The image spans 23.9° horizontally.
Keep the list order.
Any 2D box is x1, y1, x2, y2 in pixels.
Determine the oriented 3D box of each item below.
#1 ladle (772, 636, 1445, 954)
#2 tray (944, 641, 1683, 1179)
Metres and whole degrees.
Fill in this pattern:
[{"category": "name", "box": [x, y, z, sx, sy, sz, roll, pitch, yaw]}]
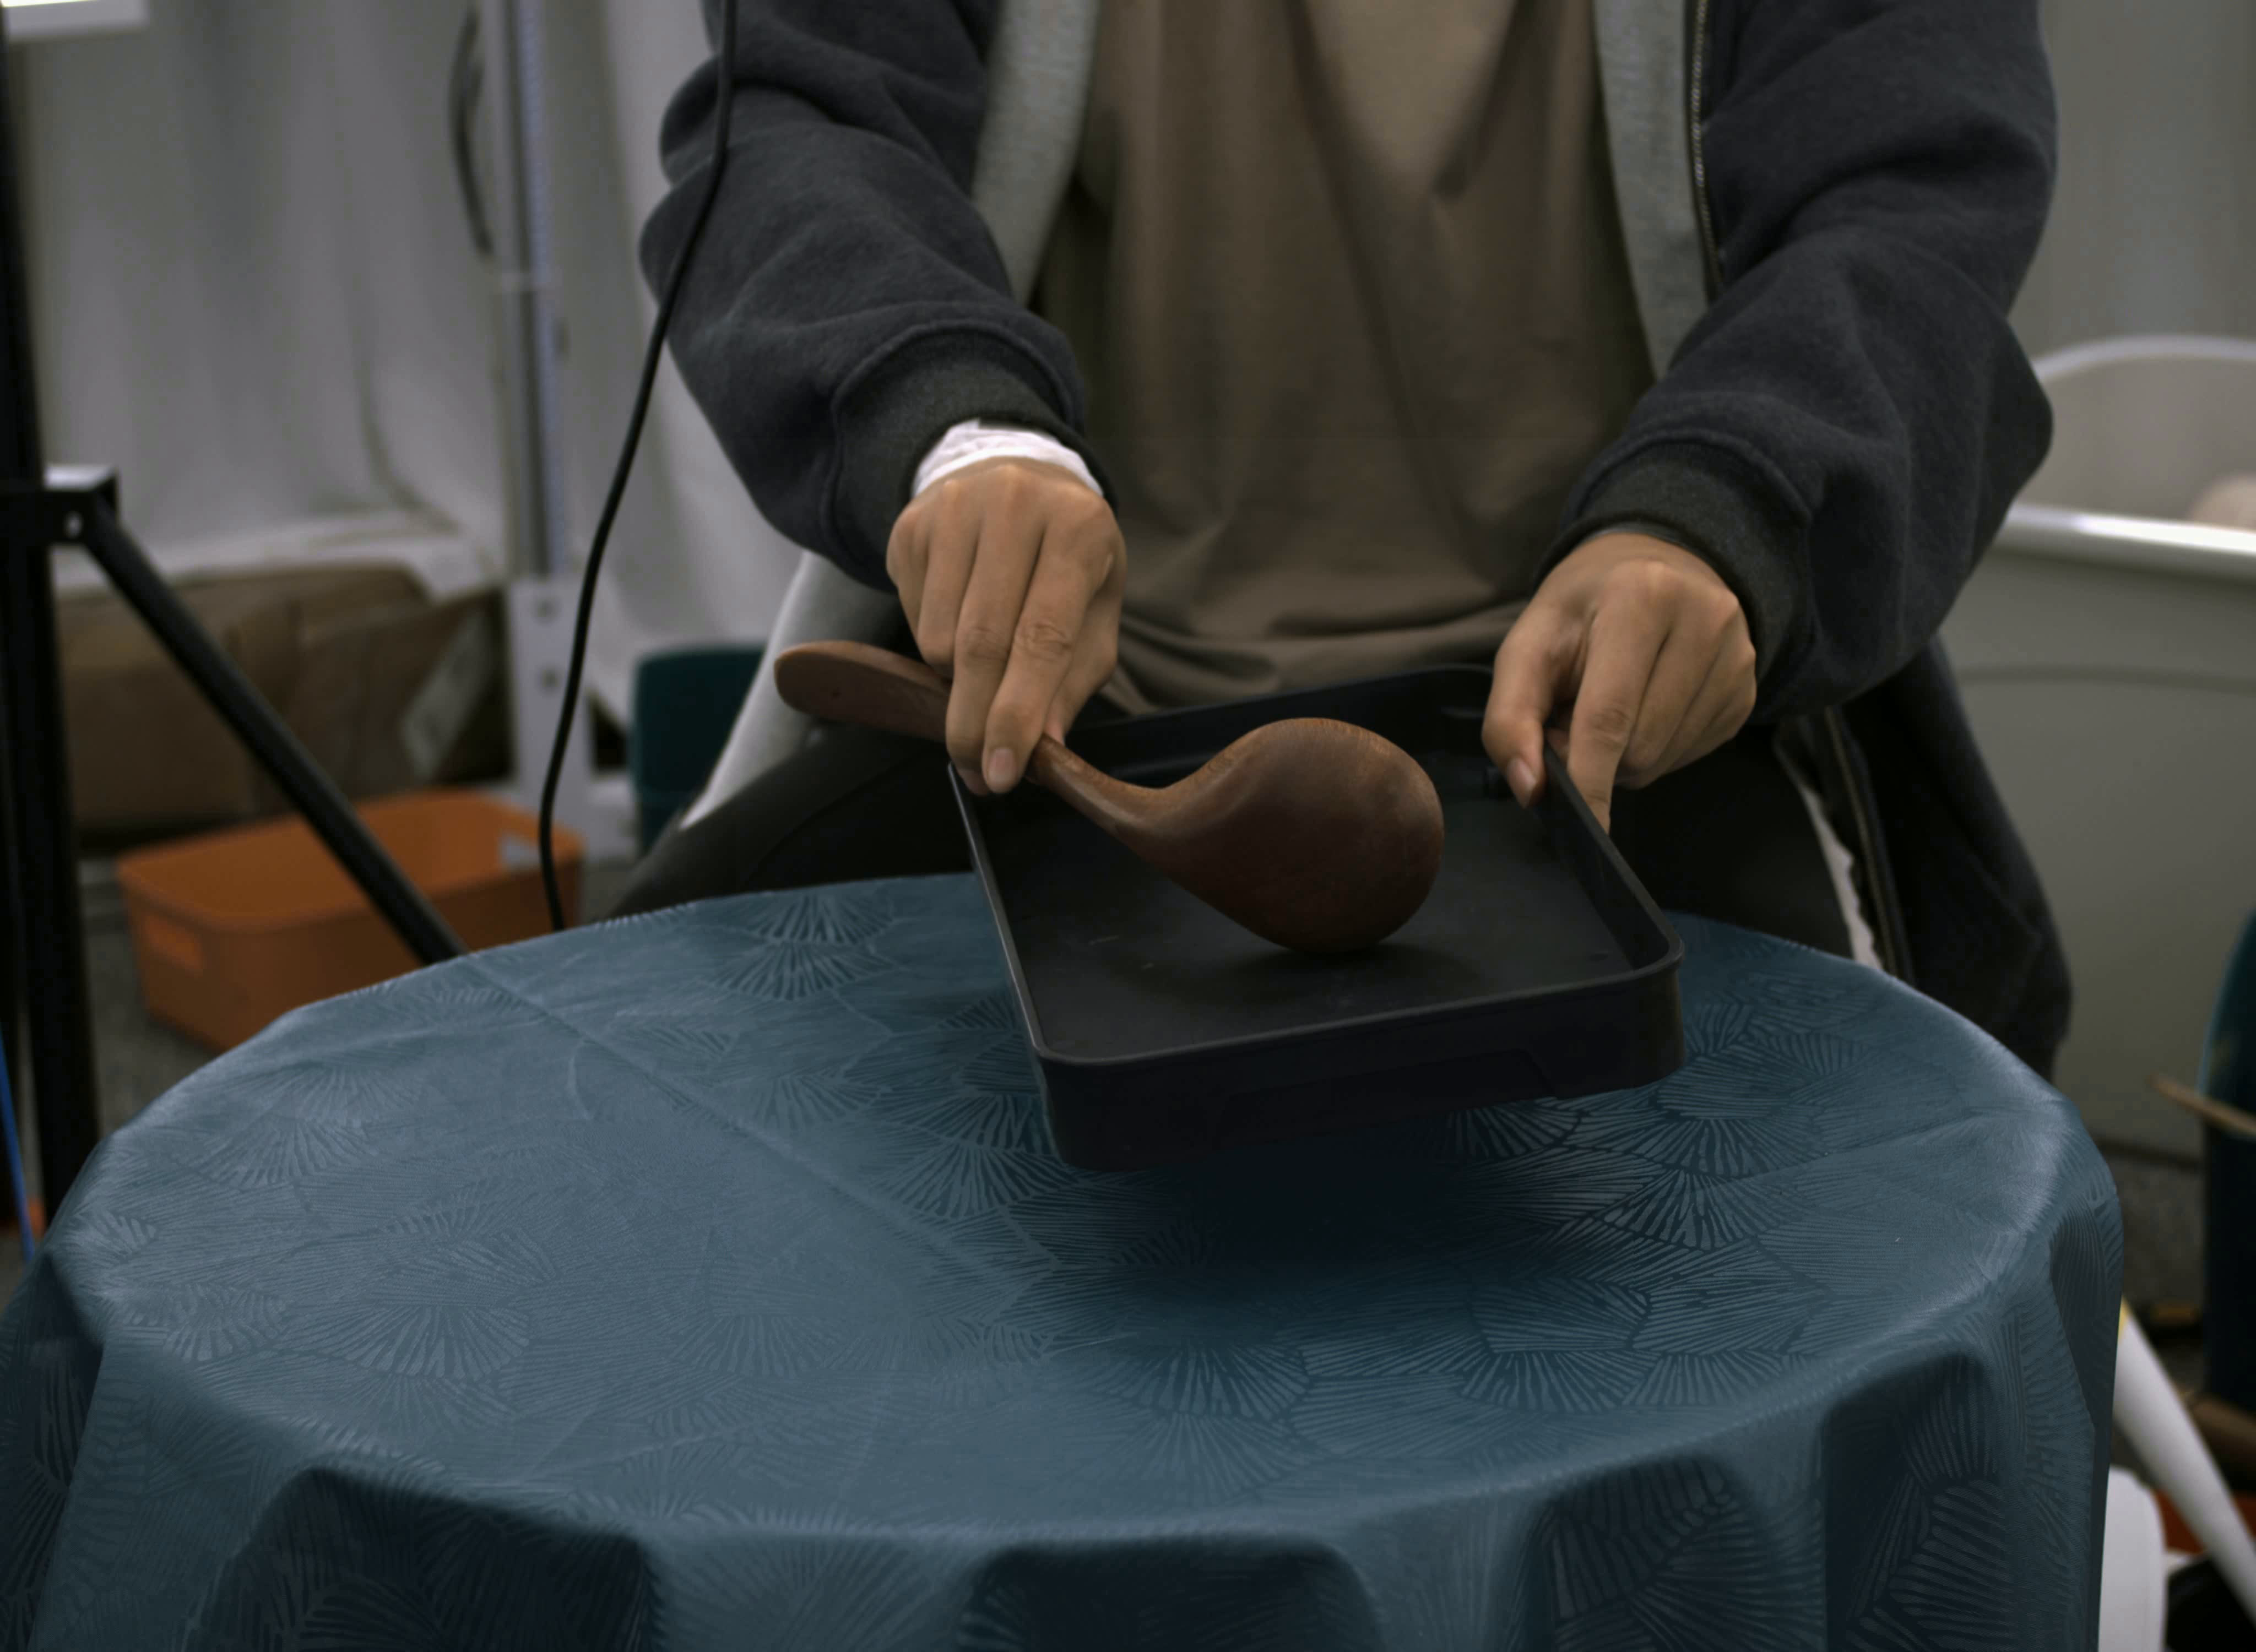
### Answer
[{"category": "ladle", "box": [-0.009, -0.023, 1.639, 0.064, 0.076, 0.266, -23, 30, -34]}, {"category": "tray", "box": [0.049, 0.019, 1.595, 0.183, 0.037, 0.321, -10, 19, -3]}]
